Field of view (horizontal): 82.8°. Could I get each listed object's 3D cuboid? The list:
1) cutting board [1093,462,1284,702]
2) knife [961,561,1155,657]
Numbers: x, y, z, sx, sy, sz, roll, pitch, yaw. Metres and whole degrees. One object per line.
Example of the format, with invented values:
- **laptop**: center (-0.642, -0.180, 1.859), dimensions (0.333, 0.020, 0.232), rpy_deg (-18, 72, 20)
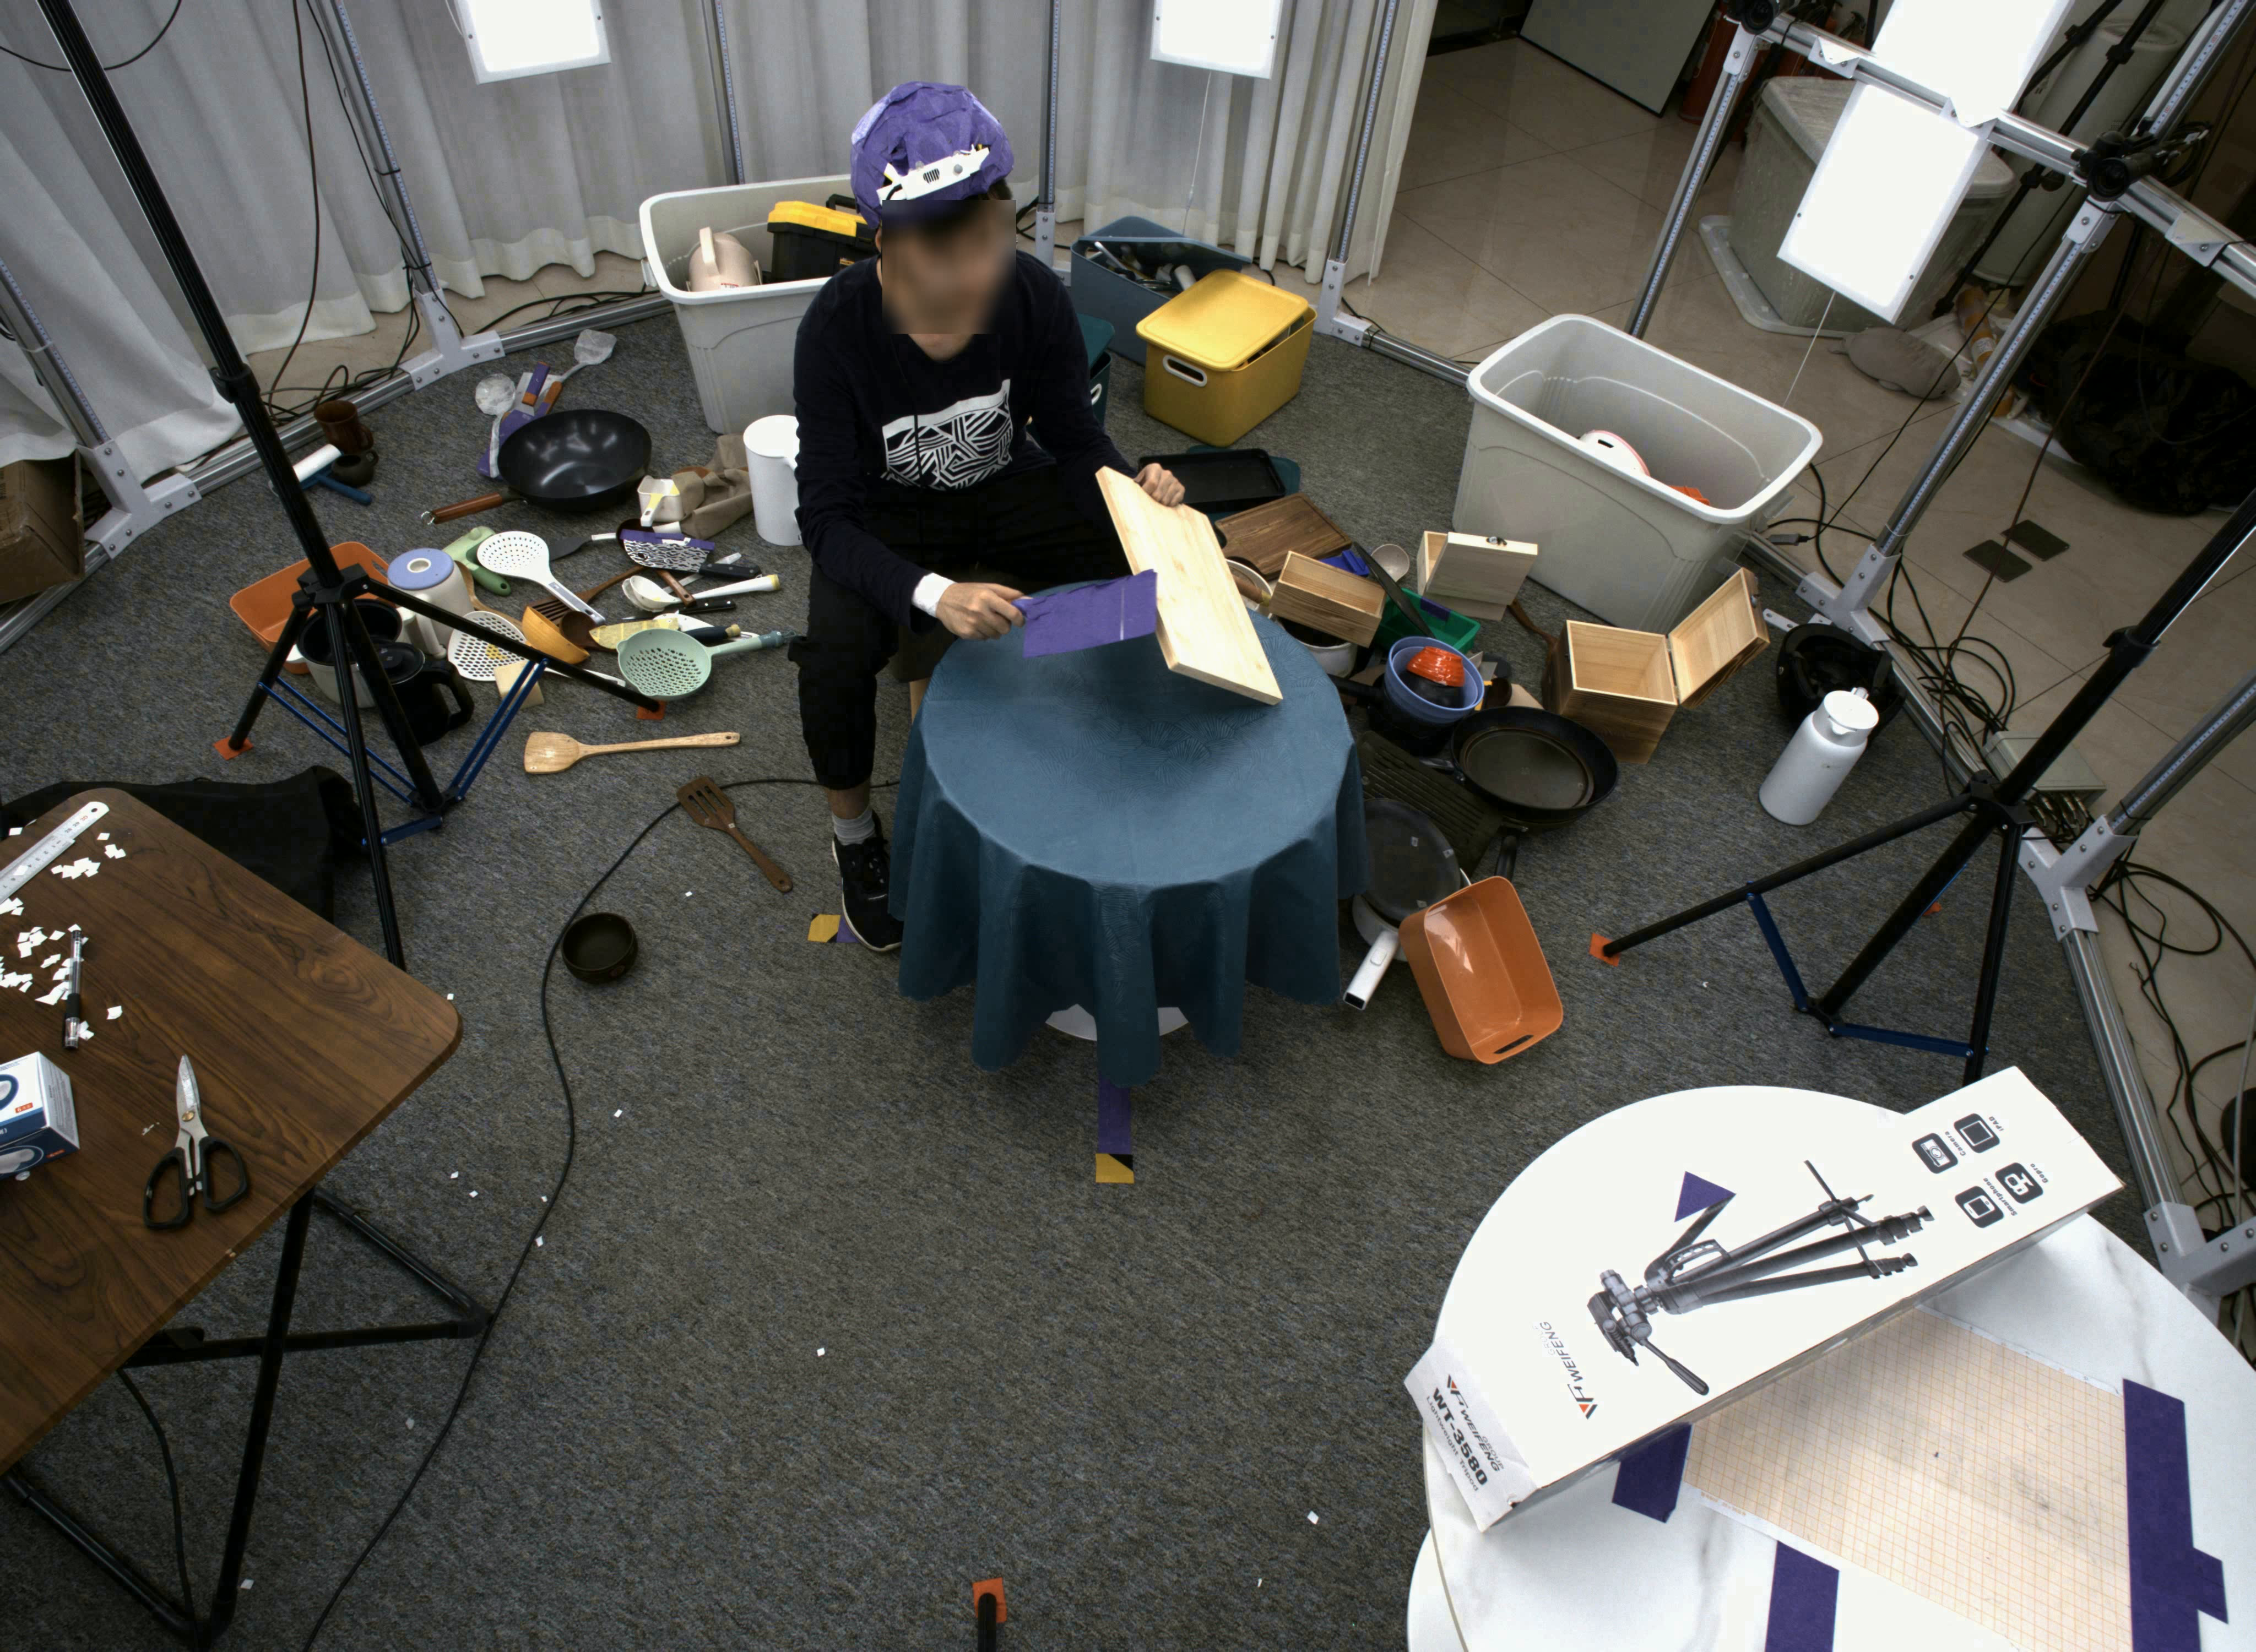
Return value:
- **cutting board**: center (0.086, -0.342, 1.819), dimensions (0.248, 0.023, 0.355), rpy_deg (11, 51, -47)
- **knife**: center (-0.099, -0.277, 1.726), dimensions (0.315, 0.031, 0.105), rpy_deg (-8, 67, 33)
